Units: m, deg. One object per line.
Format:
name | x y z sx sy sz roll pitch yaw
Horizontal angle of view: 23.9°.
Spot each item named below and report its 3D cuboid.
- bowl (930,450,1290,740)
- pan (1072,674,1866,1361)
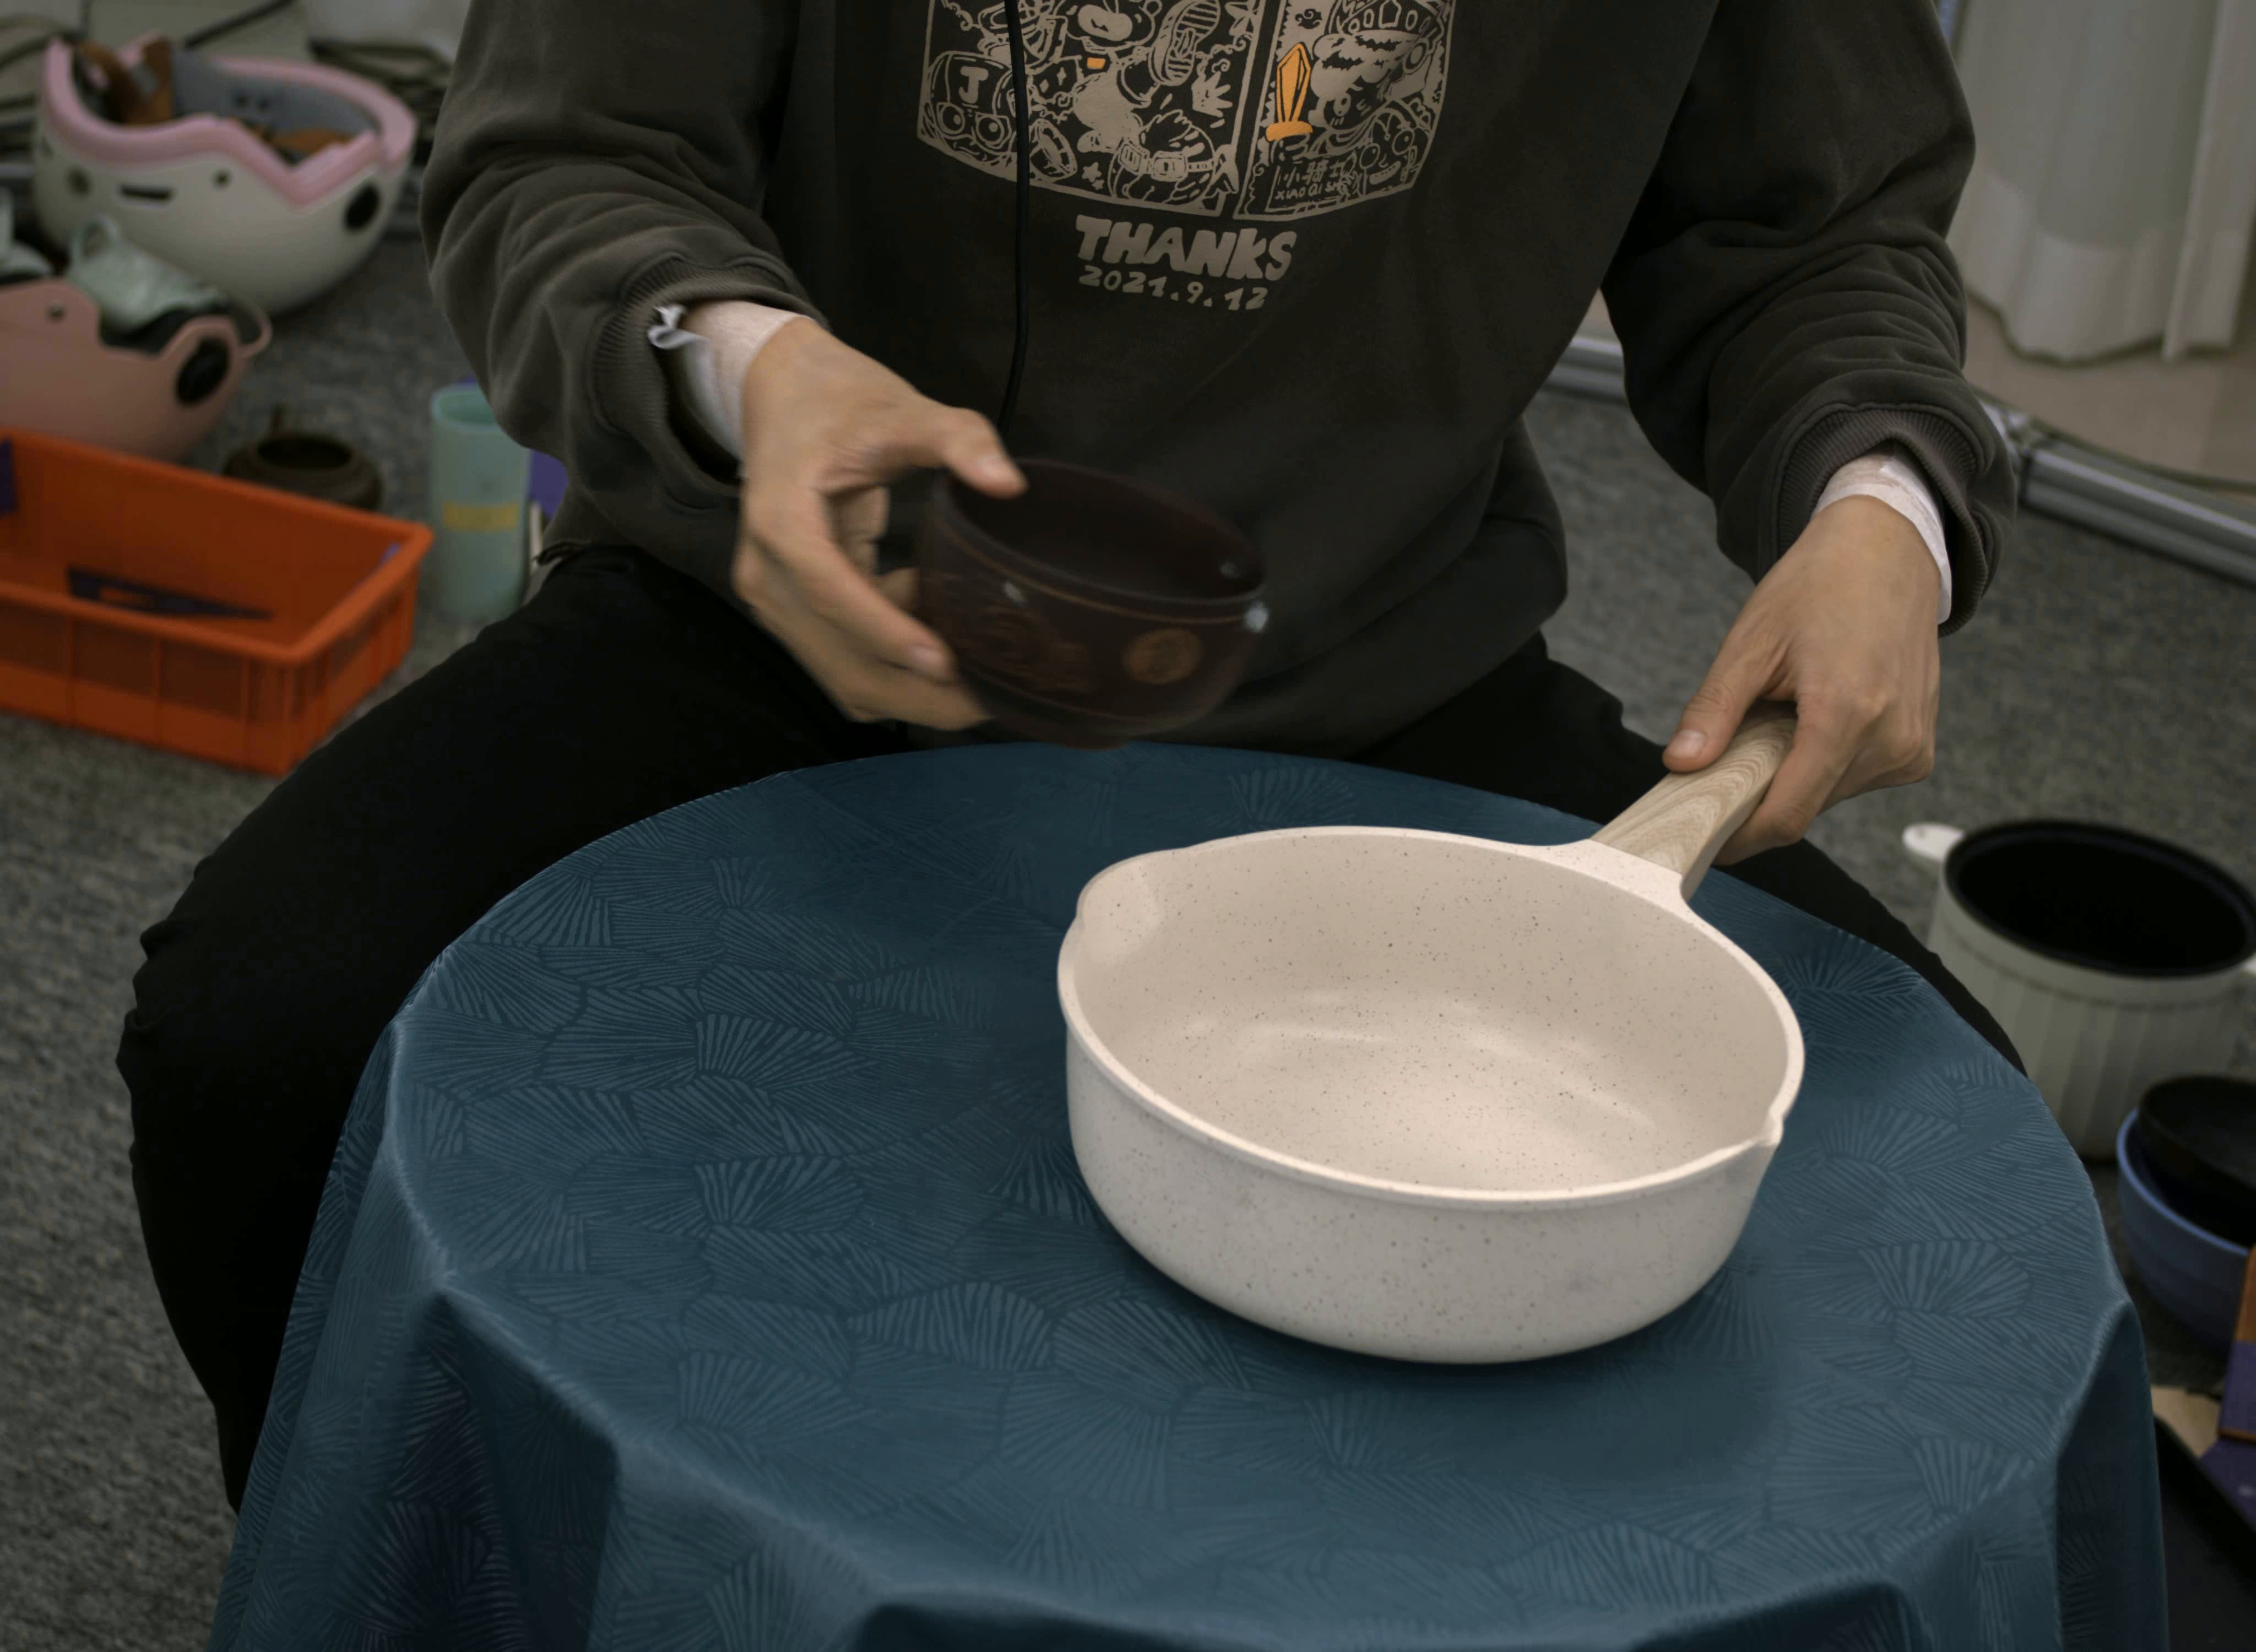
bowl | -0.010 -0.071 1.760 0.117 0.070 0.118 12 20 -5
pan | 0.152 0.059 1.858 0.265 0.101 0.434 19 29 27
